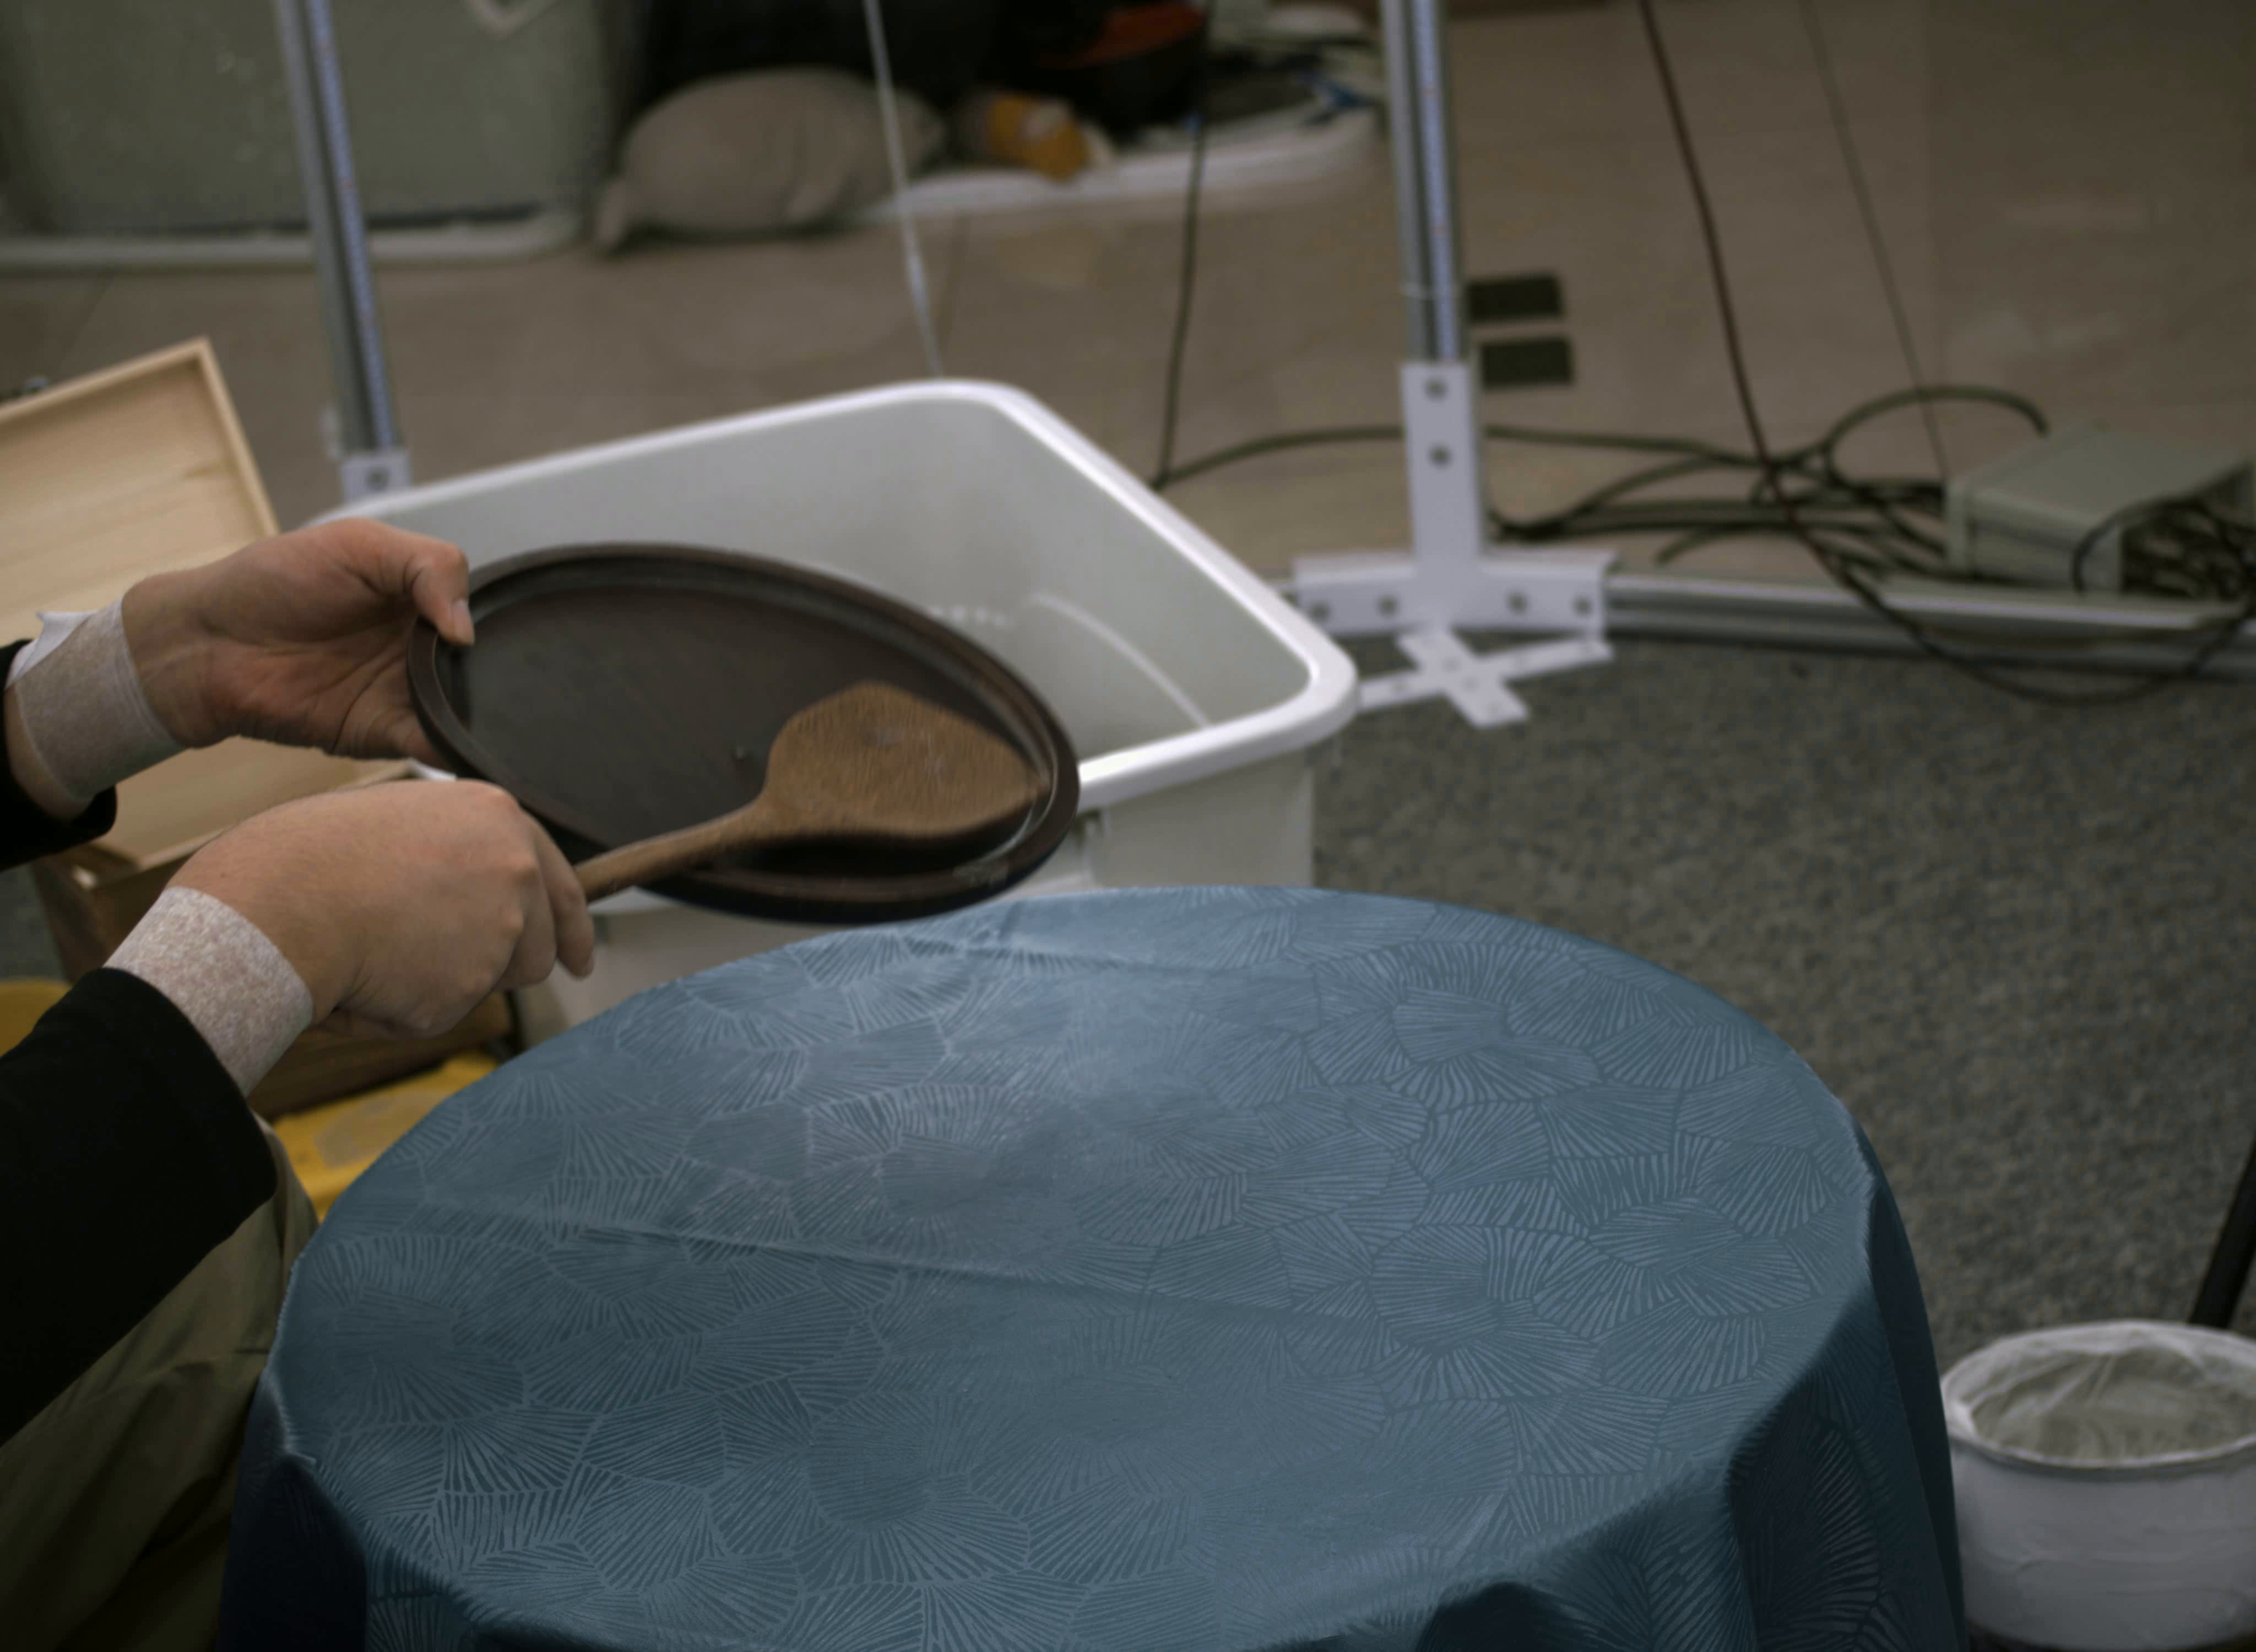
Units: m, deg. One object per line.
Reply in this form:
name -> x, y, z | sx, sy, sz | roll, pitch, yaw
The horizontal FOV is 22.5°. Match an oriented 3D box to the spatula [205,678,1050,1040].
spatula -> -0.172, 0.012, 1.941 | 0.095, 0.016, 0.383 | 30, 31, 28

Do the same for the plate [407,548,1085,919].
plate -> -0.140, -0.036, 2.074 | 0.255, 0.029, 0.250 | 13, 28, -7
